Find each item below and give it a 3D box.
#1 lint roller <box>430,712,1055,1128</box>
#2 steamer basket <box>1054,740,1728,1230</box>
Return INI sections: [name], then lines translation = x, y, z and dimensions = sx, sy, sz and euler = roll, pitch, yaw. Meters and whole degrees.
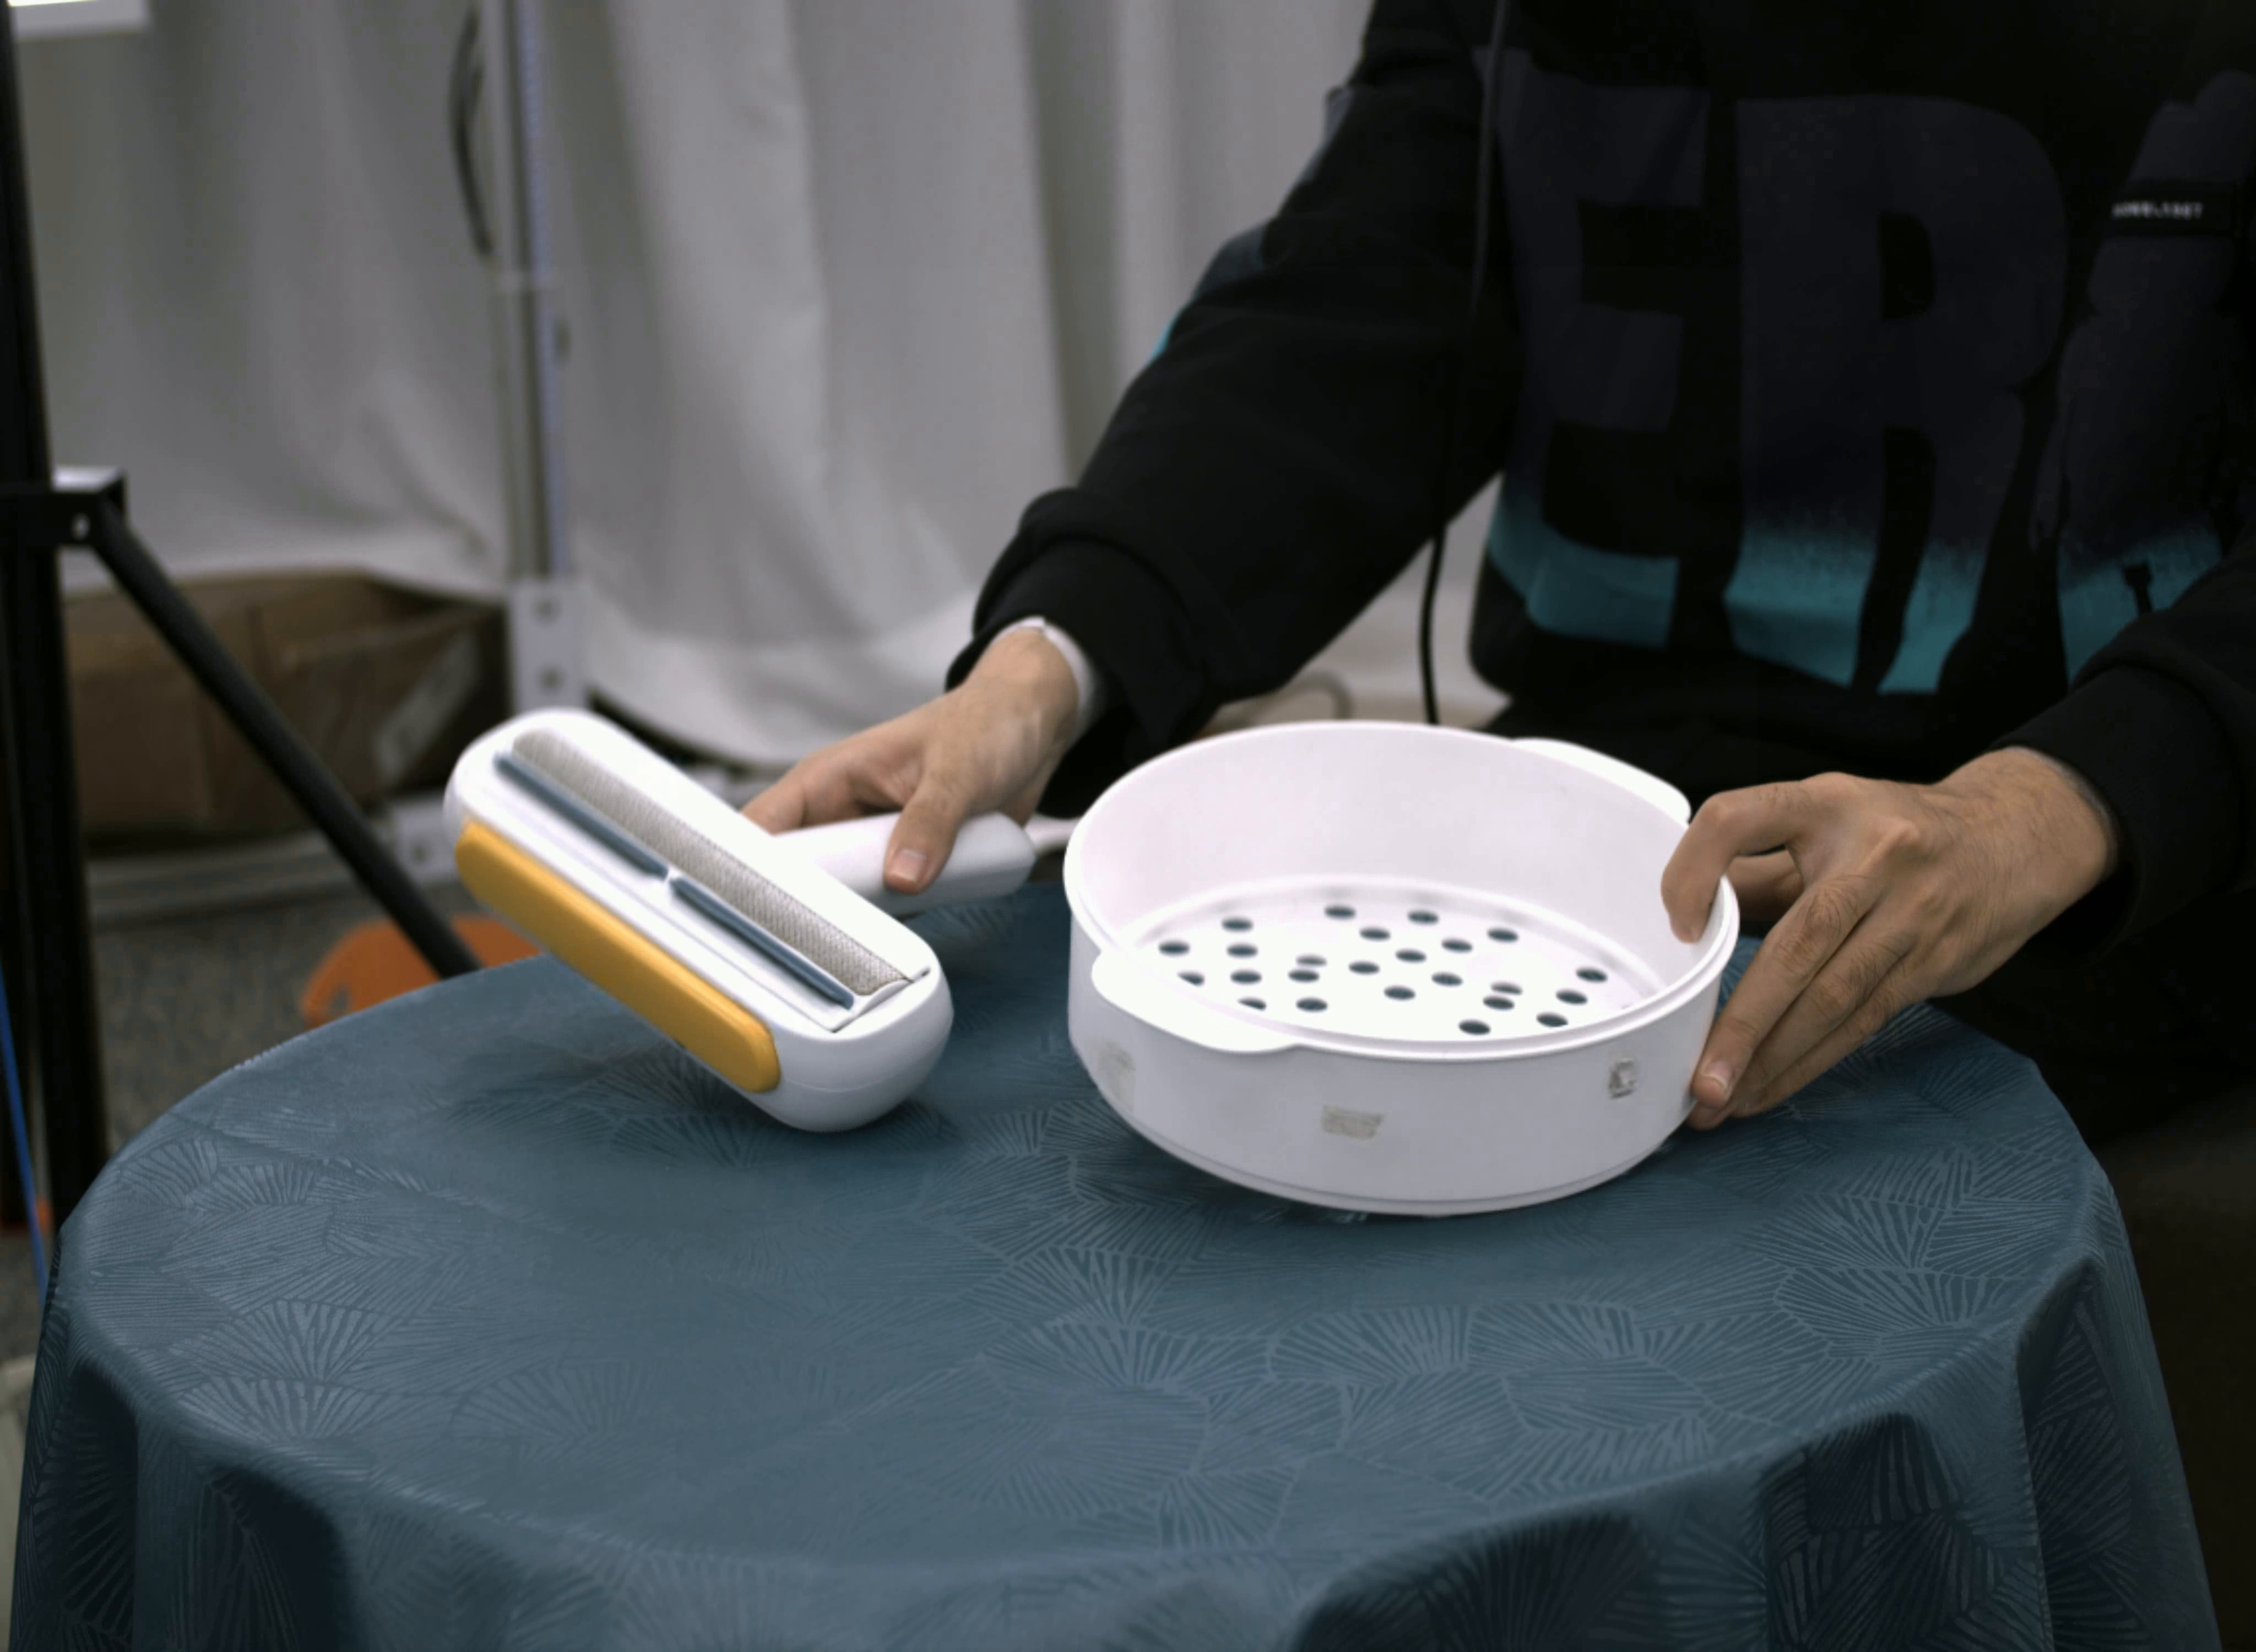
[lint roller]
translation = -0.100, 0.017, 1.708
dimensions = 0.188, 0.074, 0.197
euler = -22, 38, -38
[steamer basket]
translation = 0.075, 0.048, 1.585
dimensions = 0.206, 0.069, 0.226
euler = 25, 33, 35
